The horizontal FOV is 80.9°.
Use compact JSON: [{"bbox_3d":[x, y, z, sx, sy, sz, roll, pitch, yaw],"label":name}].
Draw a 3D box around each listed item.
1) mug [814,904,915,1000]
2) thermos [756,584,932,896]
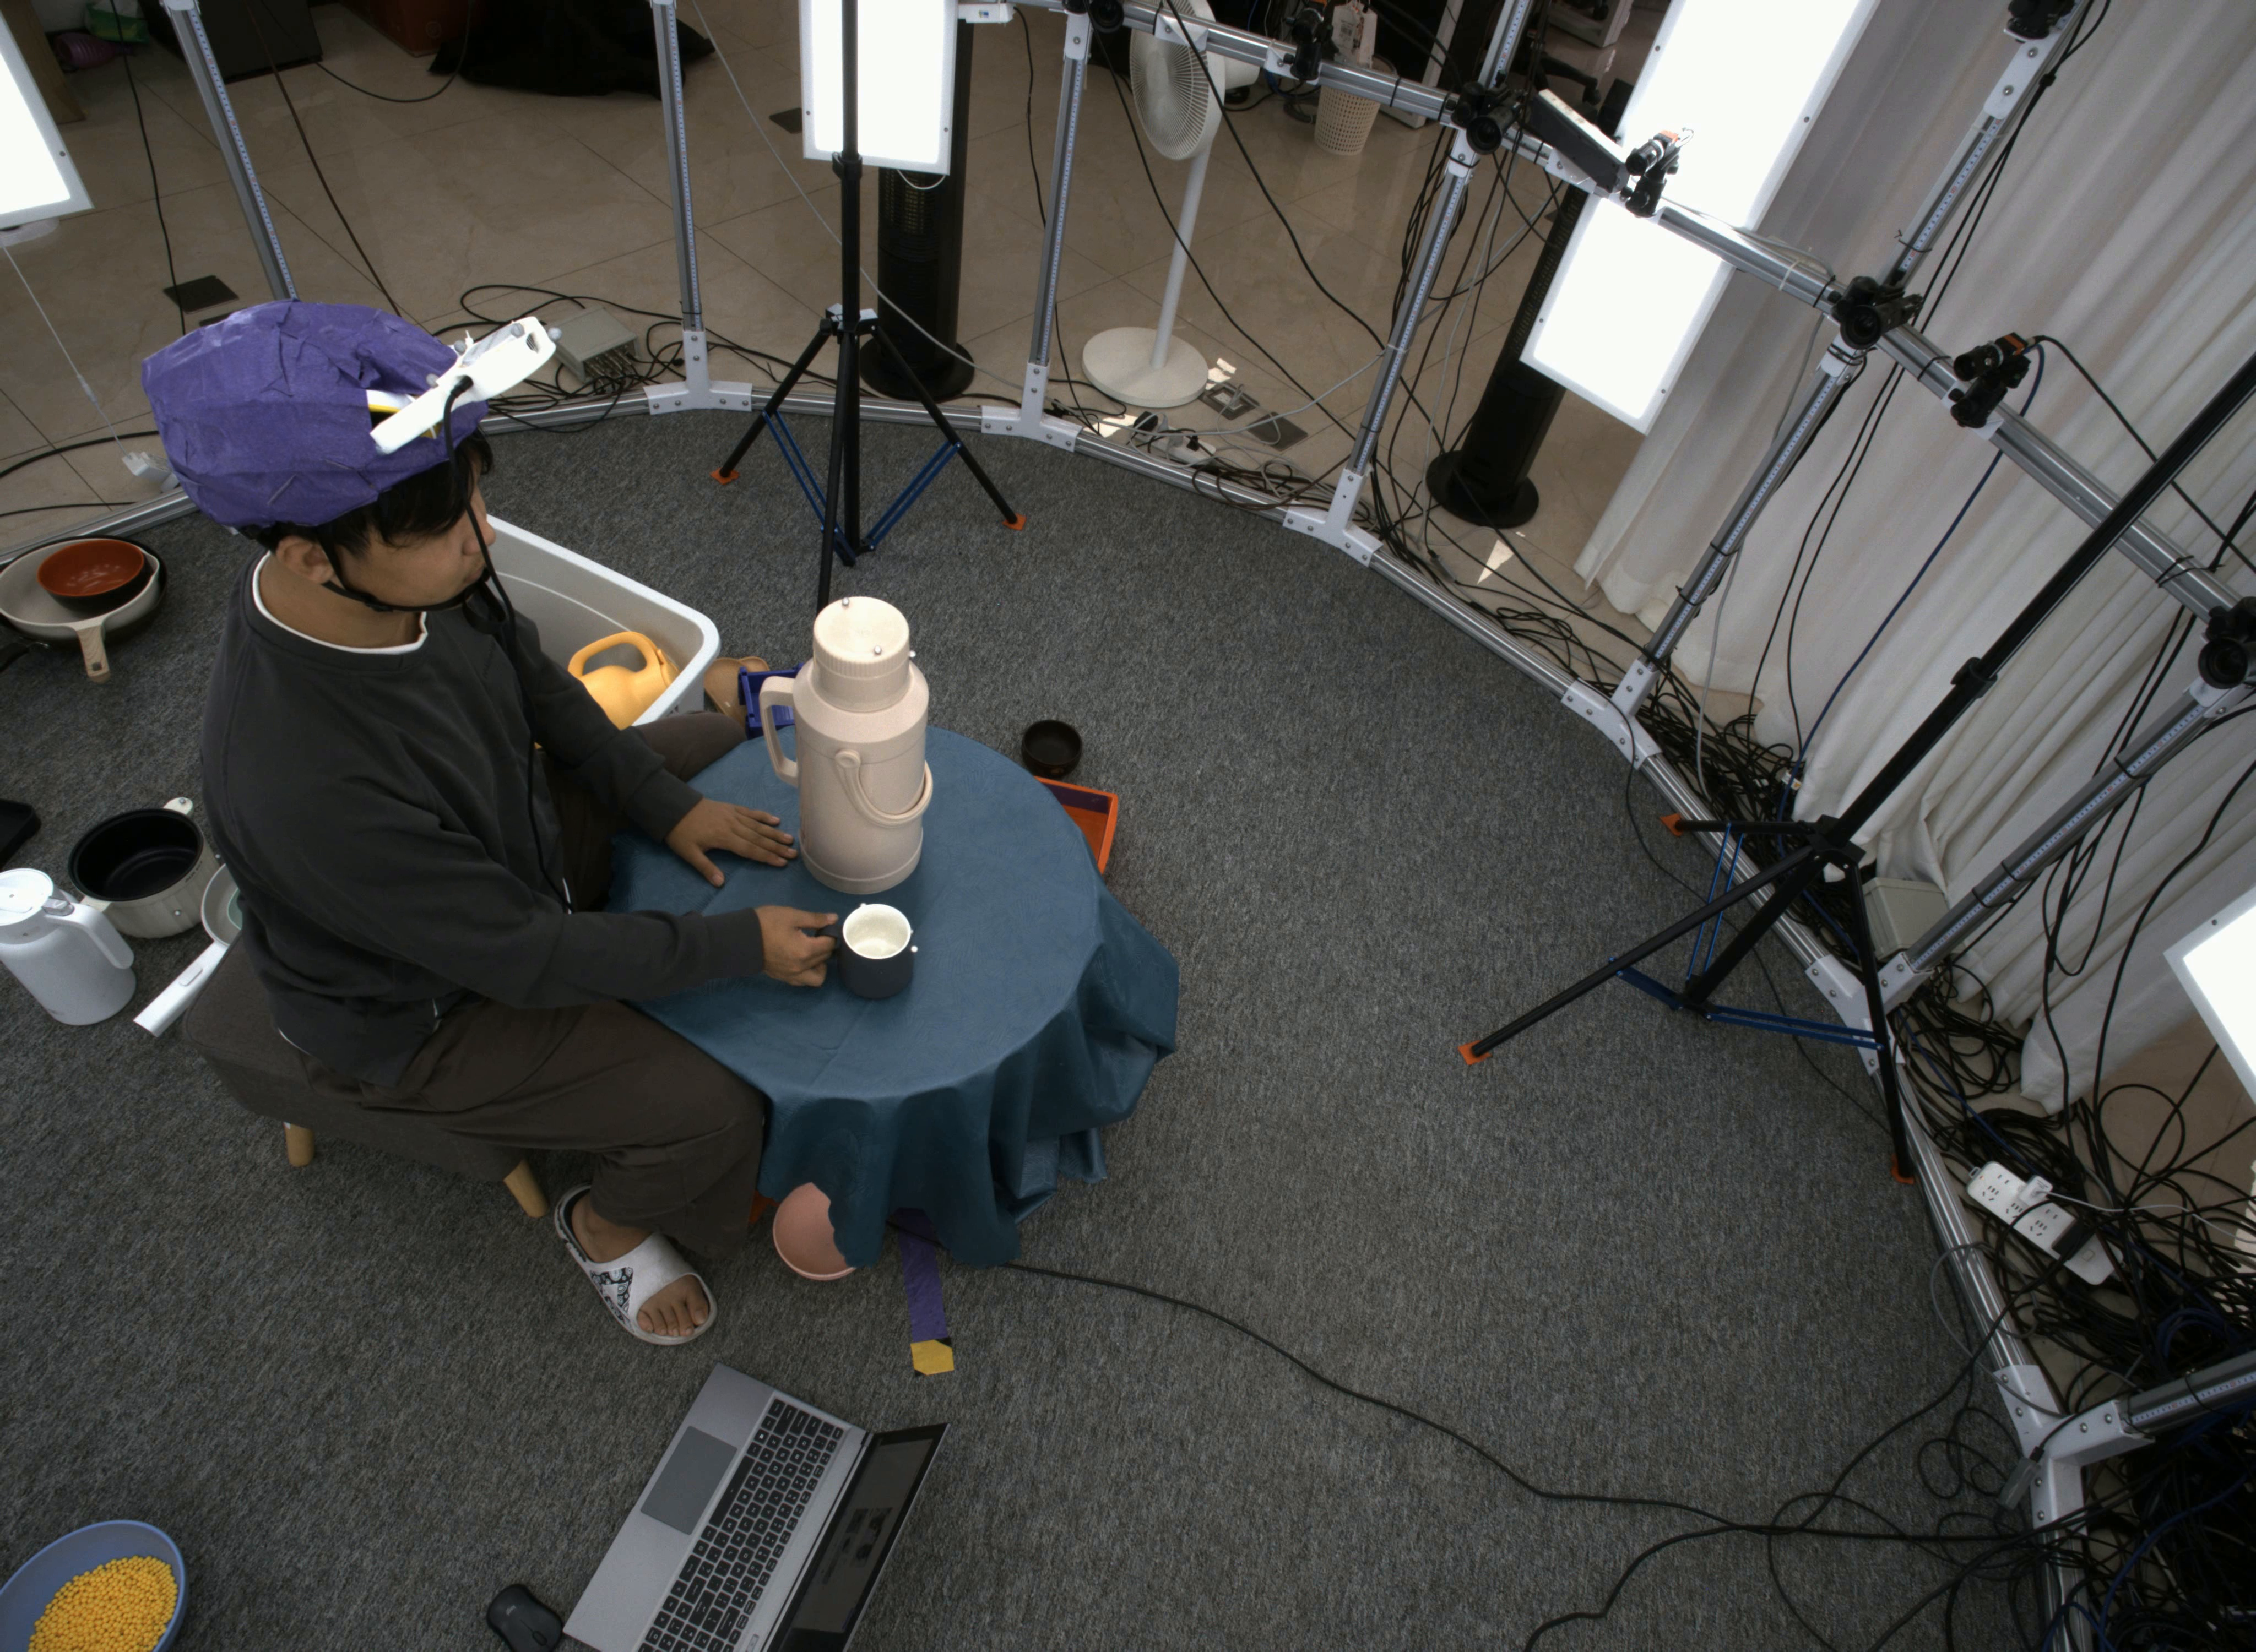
[{"bbox_3d":[-0.320,0.147,1.576,0.122,0.092,0.092,12,51,-5],"label":"mug"},{"bbox_3d":[-0.337,-0.101,1.561,0.206,0.415,0.172,7,51,-6],"label":"thermos"}]
